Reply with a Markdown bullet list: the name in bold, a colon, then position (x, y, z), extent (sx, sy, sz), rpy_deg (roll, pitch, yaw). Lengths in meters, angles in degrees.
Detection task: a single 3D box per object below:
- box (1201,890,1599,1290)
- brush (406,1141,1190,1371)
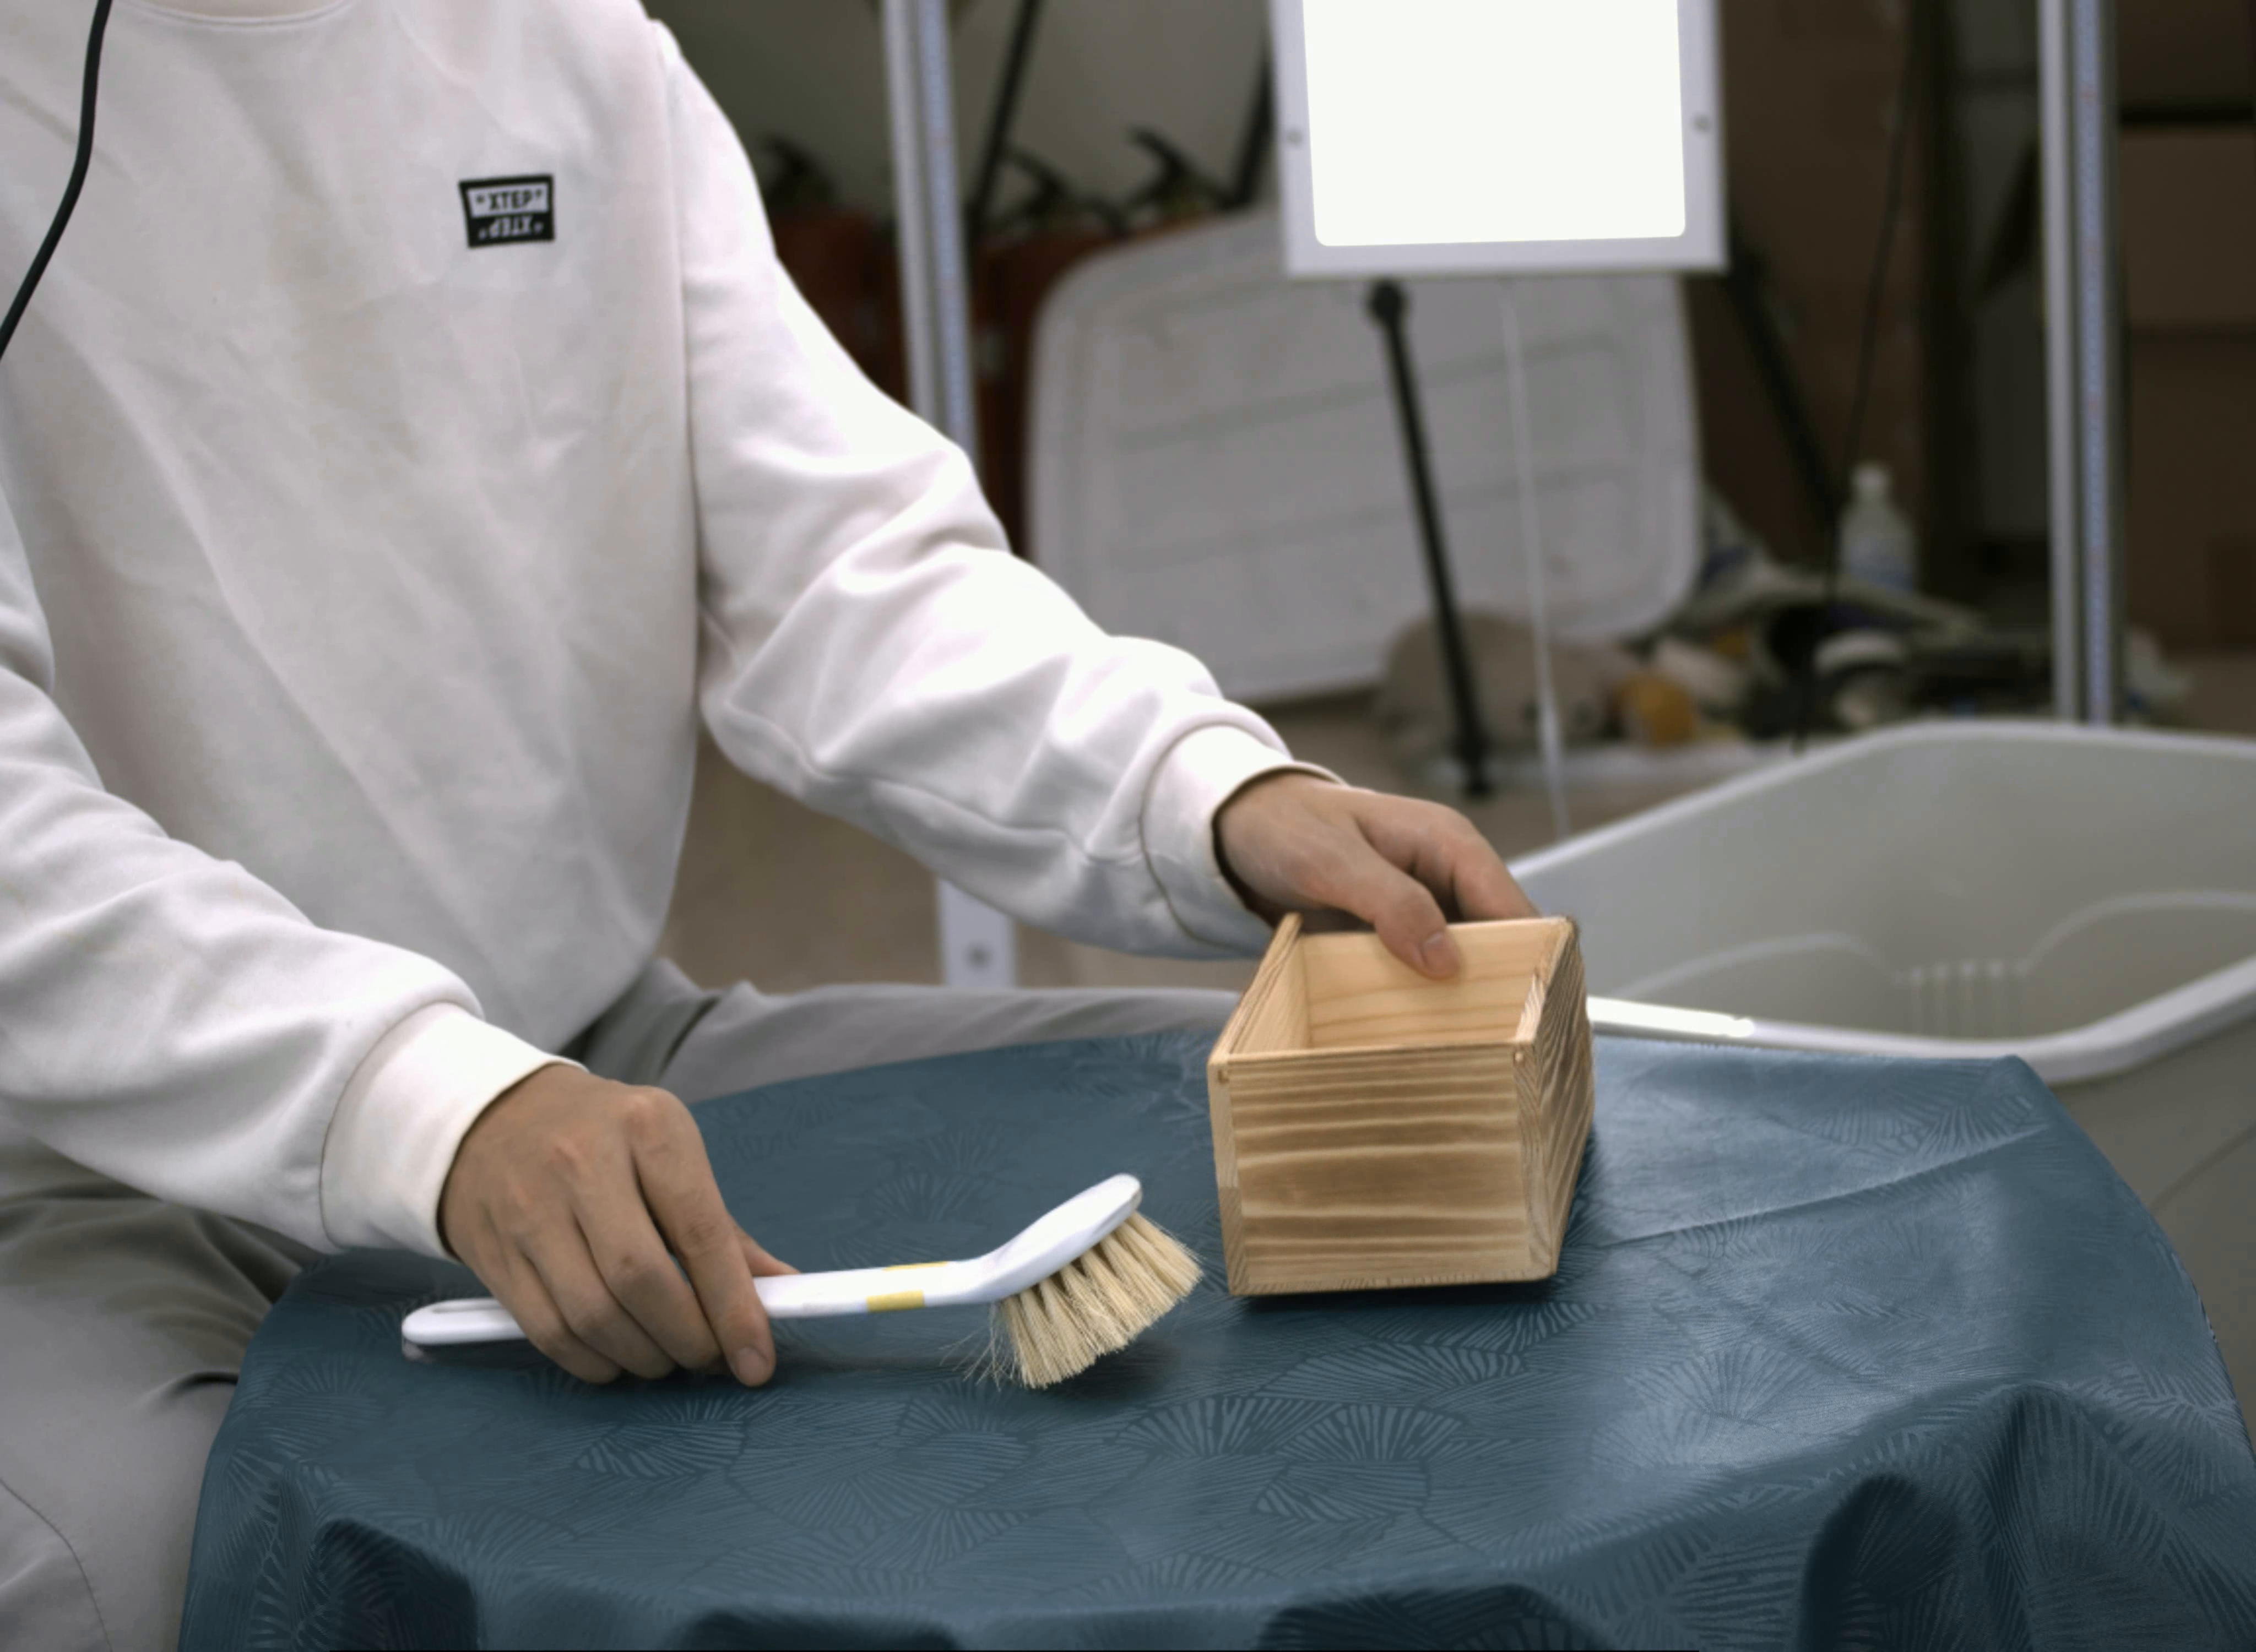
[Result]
- **box**: position (0.095, 0.086, 1.841), extent (0.108, 0.080, 0.209), rpy_deg (-5, 11, 10)
- **brush**: position (-0.104, 0.160, 1.754), extent (0.270, 0.056, 0.067), rpy_deg (-17, 1, 20)
